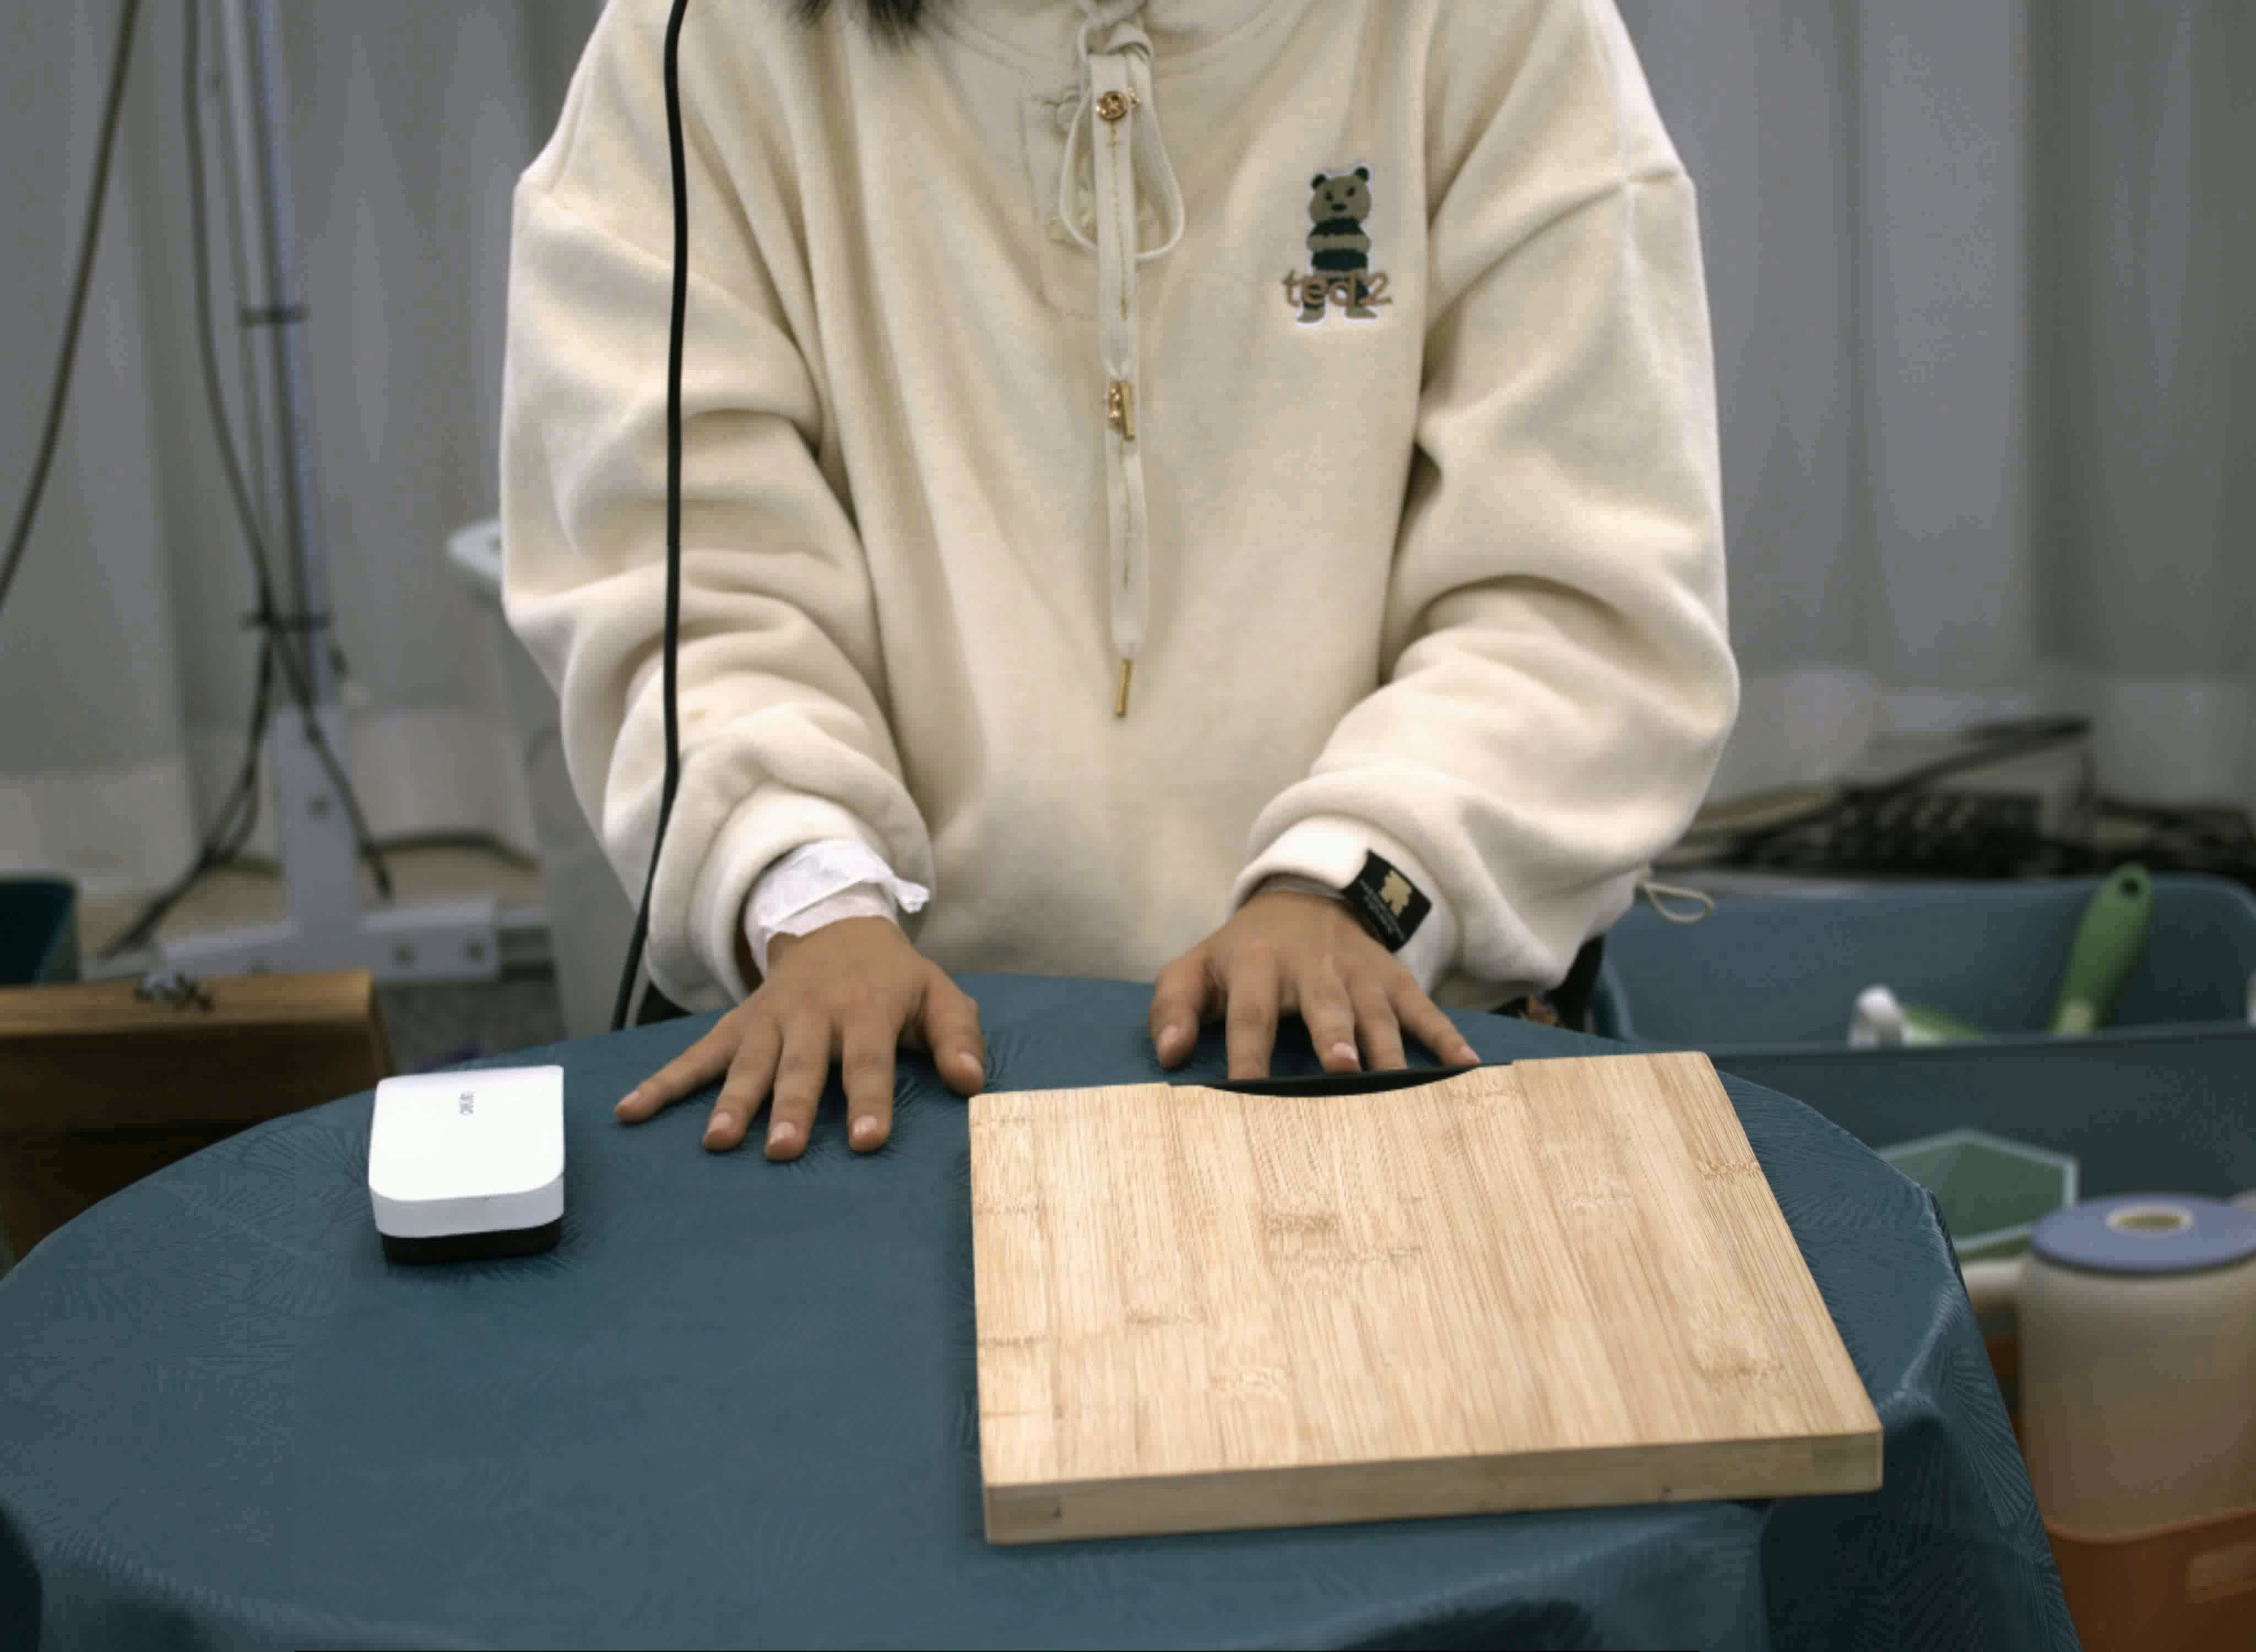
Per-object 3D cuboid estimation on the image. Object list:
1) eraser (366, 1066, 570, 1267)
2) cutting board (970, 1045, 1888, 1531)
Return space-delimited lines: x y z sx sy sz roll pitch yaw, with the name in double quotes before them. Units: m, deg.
"eraser" -0.208 0.104 1.738 0.063 0.034 0.132 -4 16 -4
"cutting board" 0.075 0.131 1.608 0.250 0.023 0.351 -4 15 -2
